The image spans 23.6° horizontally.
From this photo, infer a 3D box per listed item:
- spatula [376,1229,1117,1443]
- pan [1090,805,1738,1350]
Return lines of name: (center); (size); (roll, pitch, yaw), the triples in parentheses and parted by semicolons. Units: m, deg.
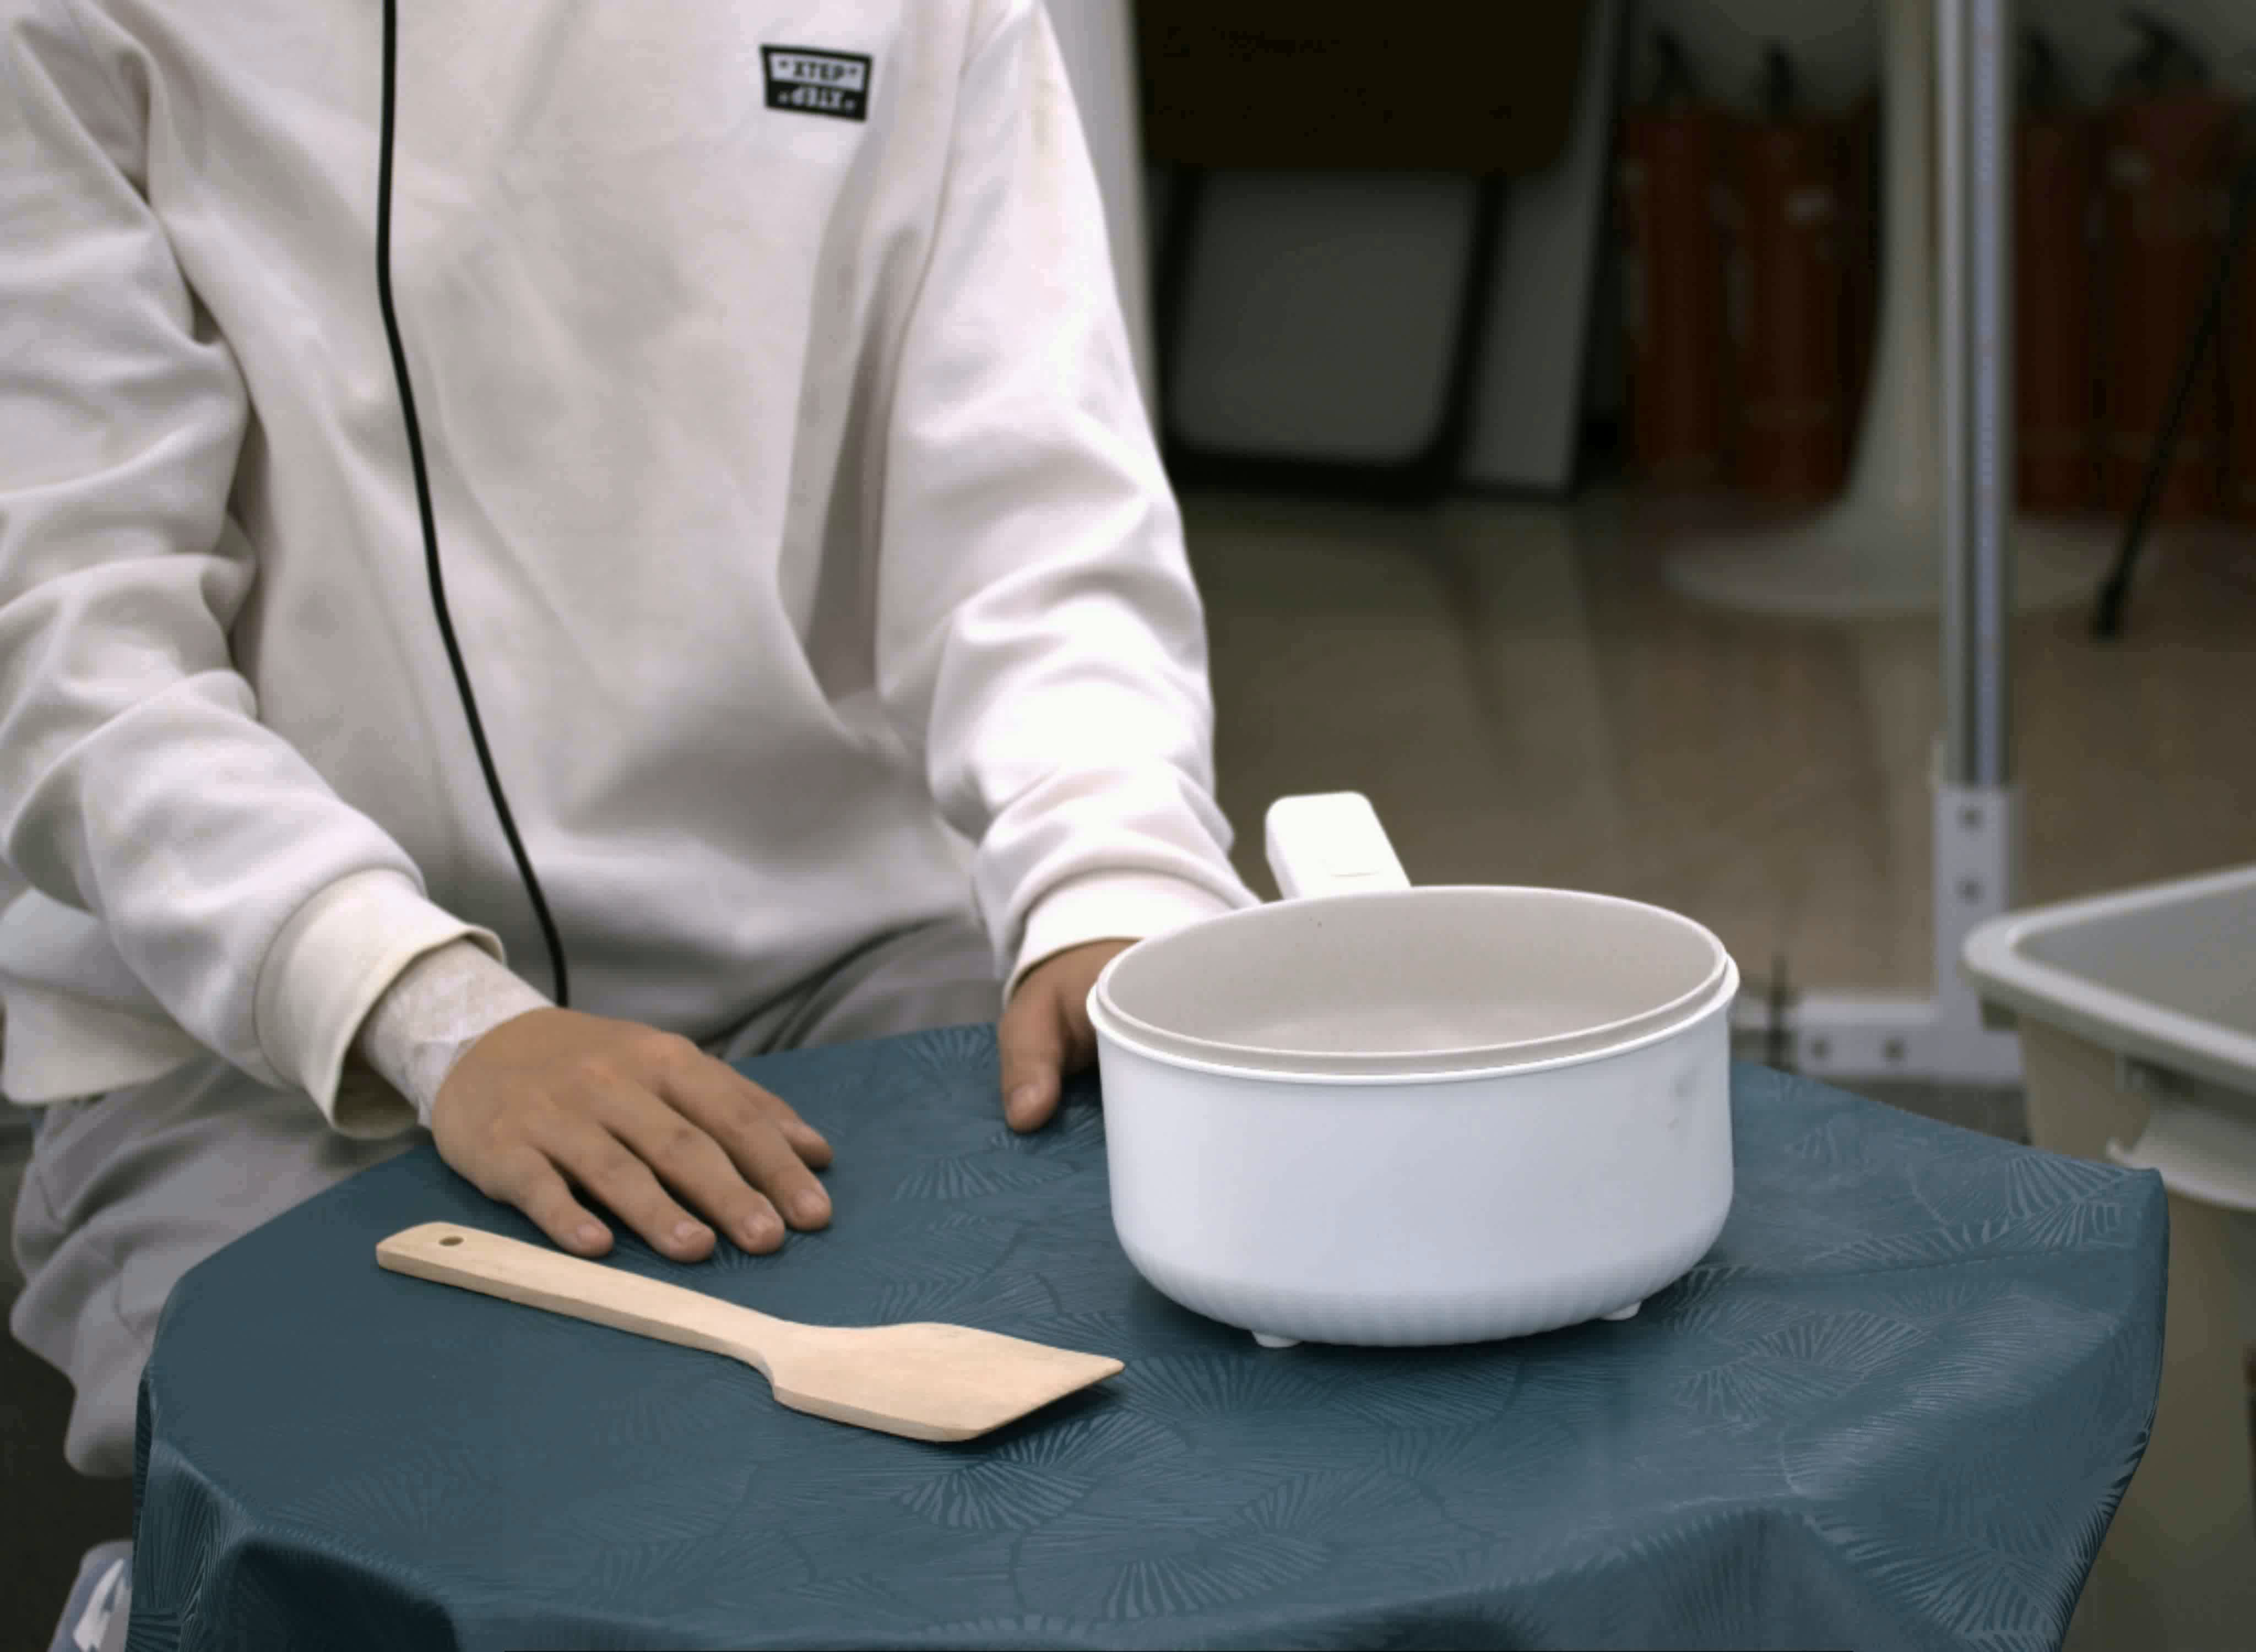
spatula: (-0.130, 0.154, 1.661); (0.295, 0.011, 0.071); (8, 19, 42)
pan: (0.085, 0.076, 1.734); (0.198, 0.103, 0.356); (-5, 12, -3)
